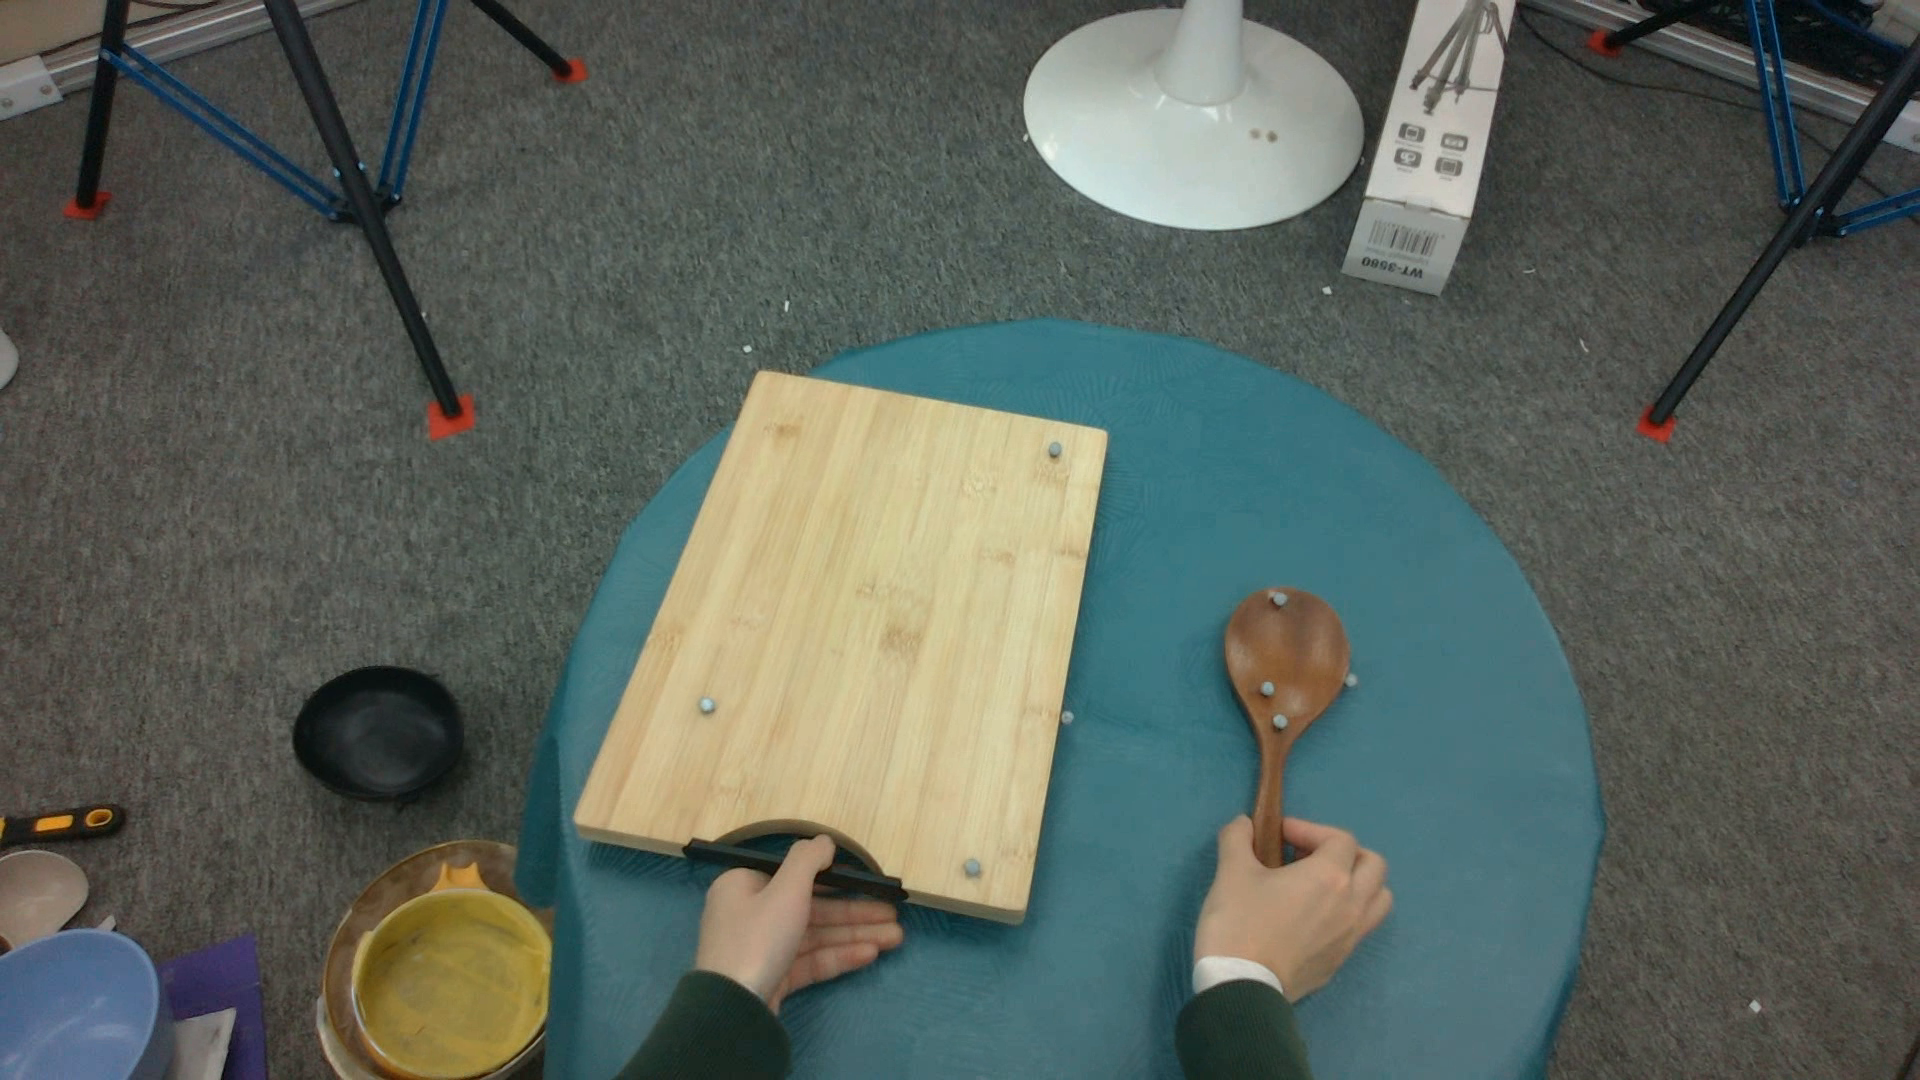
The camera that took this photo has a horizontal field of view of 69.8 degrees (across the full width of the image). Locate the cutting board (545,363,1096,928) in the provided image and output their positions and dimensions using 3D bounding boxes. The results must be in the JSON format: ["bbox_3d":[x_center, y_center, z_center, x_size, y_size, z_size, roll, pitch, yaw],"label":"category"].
[{"bbox_3d":[-0.062,0.041,0.811,0.250,0.023,0.350,9,52,4],"label":"cutting board"}]

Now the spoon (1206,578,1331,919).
[{"bbox_3d":[0.170,0.112,0.785,0.075,0.017,0.217,13,54,3],"label":"spoon"}]
